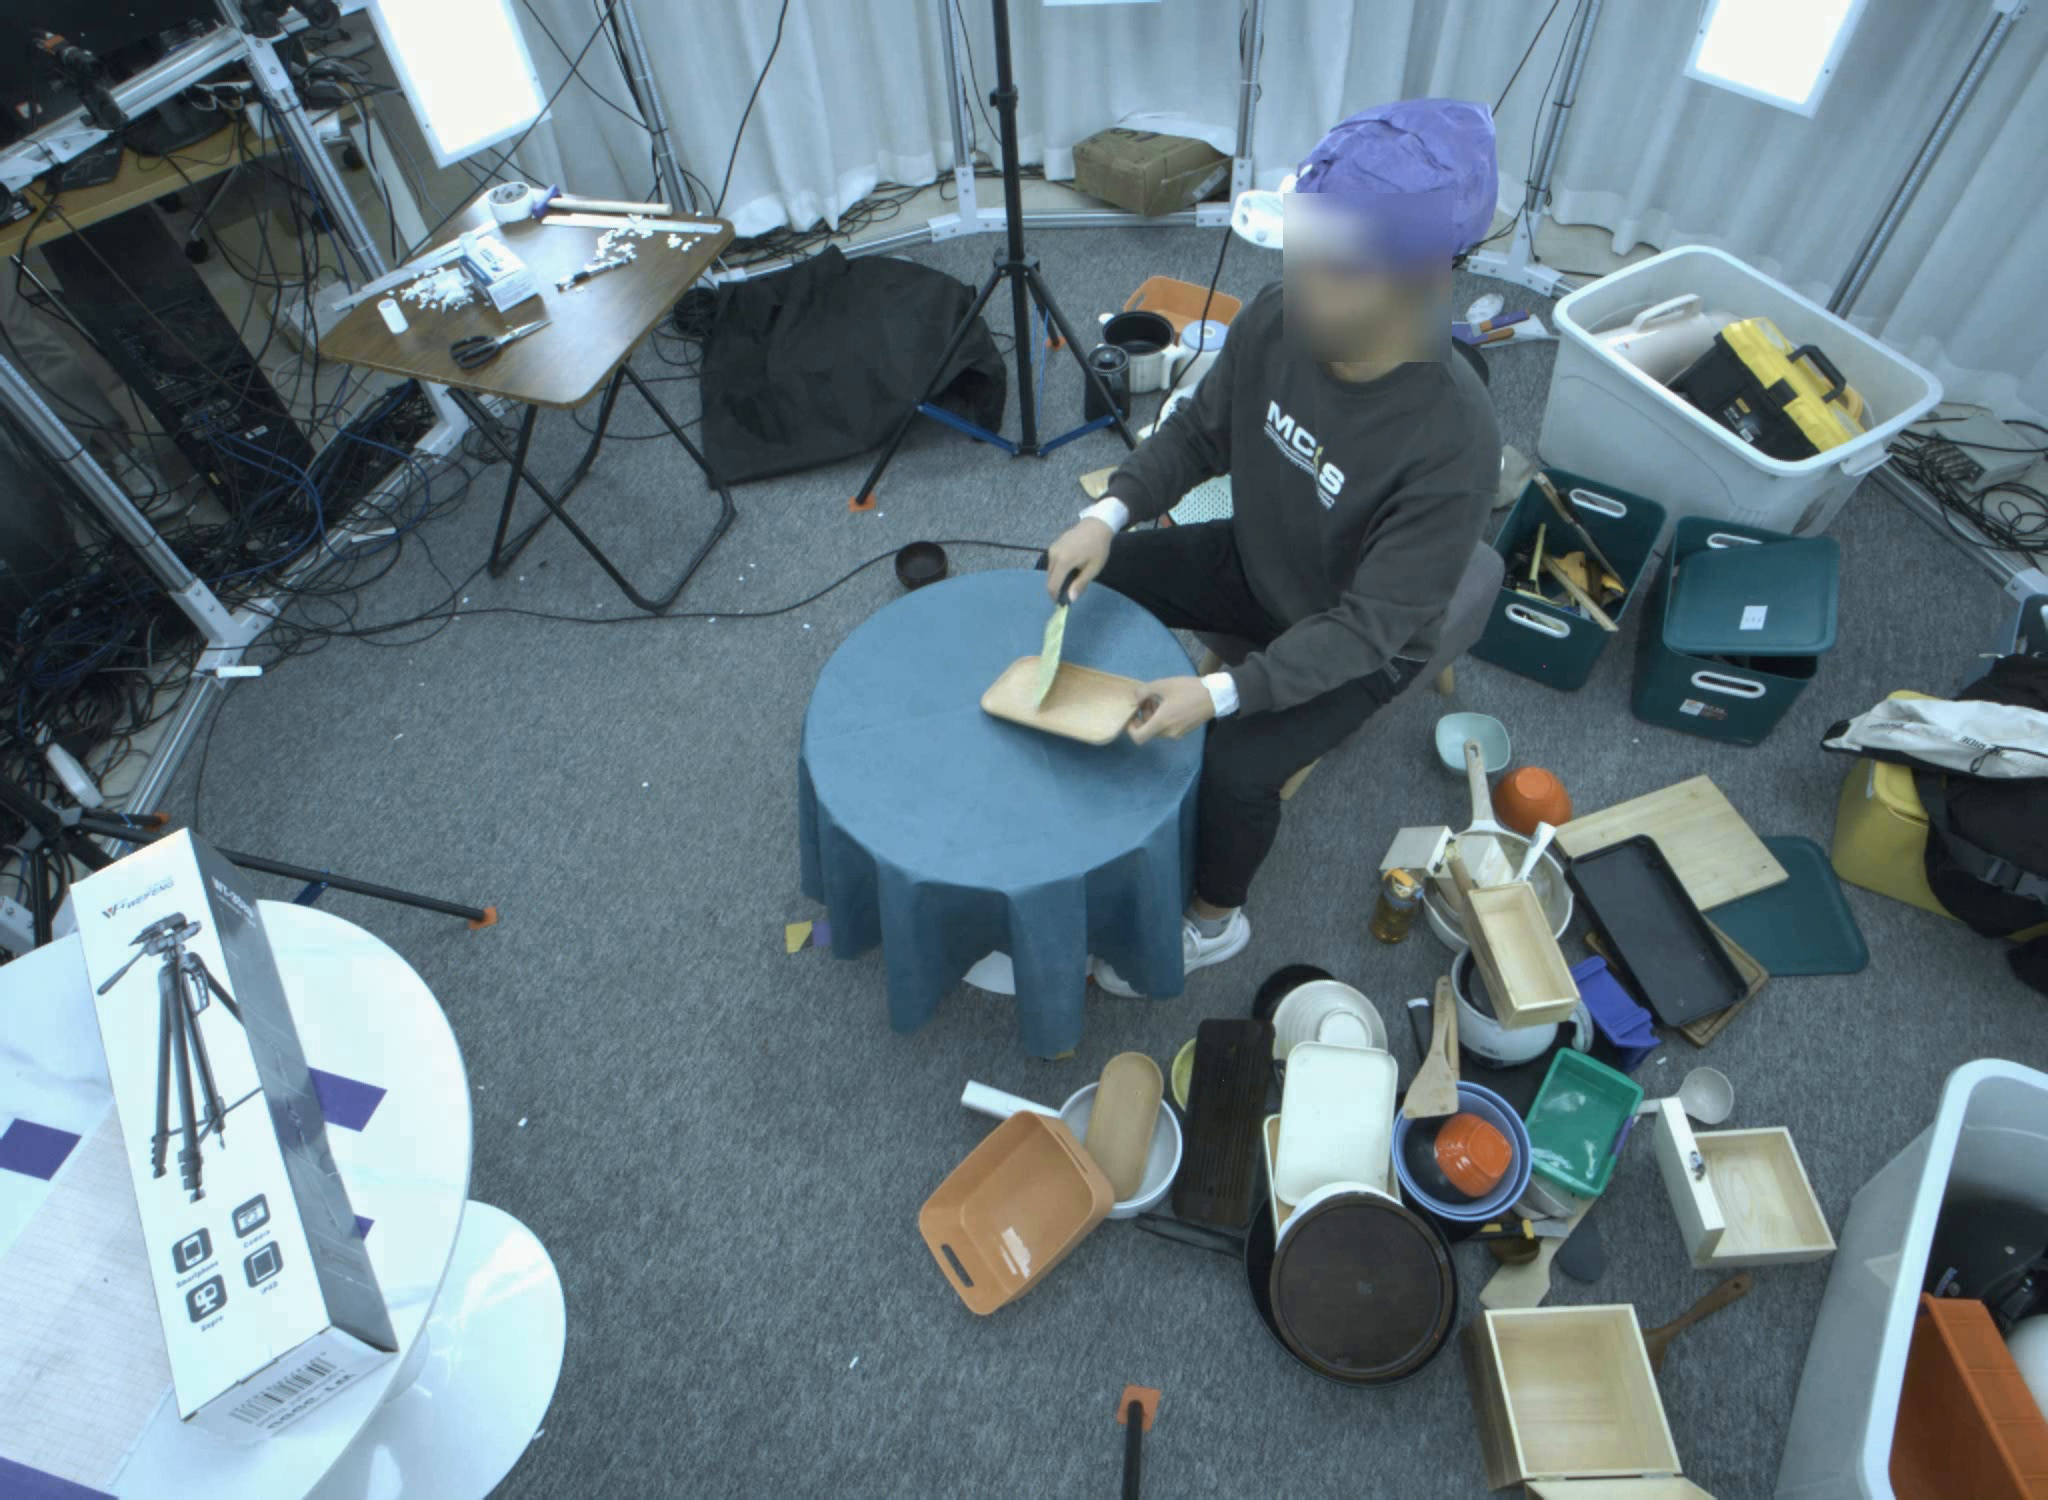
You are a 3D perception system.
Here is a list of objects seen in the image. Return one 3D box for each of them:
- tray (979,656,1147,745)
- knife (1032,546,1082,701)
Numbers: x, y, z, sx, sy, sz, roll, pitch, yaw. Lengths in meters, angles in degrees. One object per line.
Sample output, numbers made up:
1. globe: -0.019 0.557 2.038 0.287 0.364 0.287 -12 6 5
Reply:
1. tray: 0.055 -0.074 1.791 0.245 0.023 0.131 17 51 38
2. knife: 0.047 -0.191 1.845 0.027 0.080 0.288 25 57 -17
